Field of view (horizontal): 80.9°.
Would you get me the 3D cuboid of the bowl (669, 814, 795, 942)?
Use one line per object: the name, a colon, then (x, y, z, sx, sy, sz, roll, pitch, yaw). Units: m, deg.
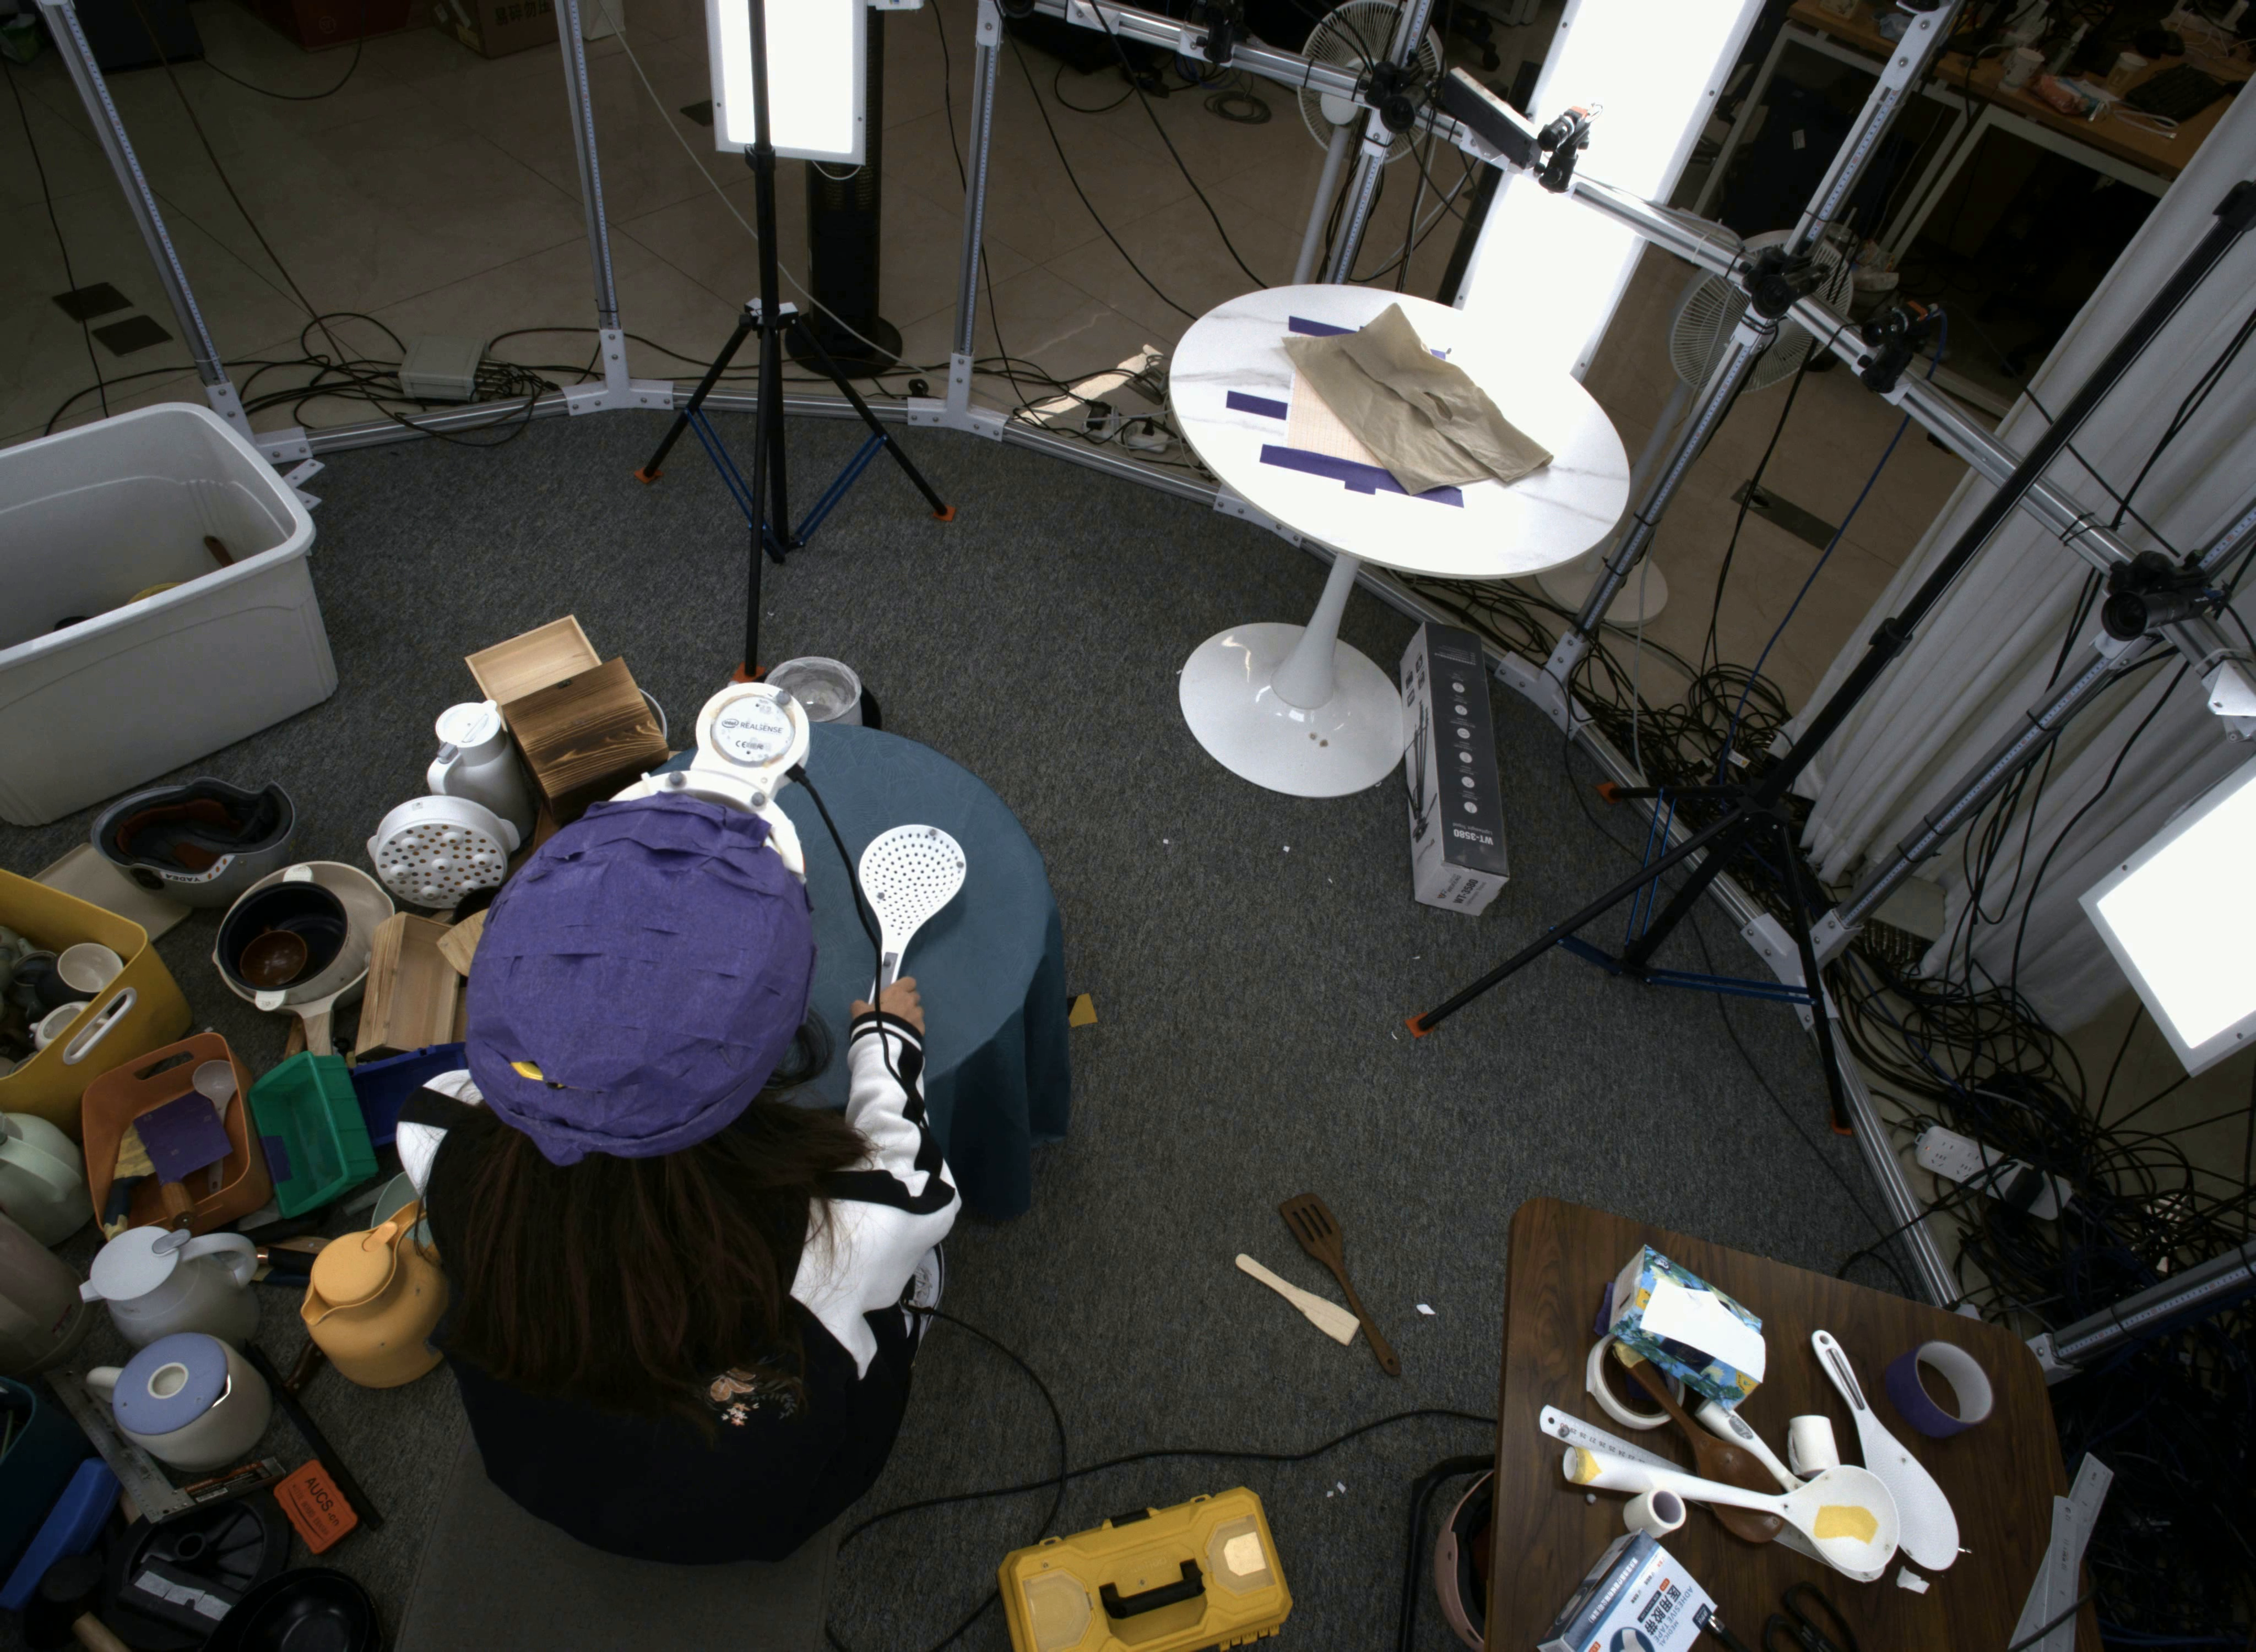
bowl: (-0.483, 0.074, 1.583, 0.148, 0.106, 0.145, 9, 52, -10)

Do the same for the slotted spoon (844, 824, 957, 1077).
slotted spoon: (-0.299, 0.145, 1.611, 0.135, 0.047, 0.344, 9, 51, -2)
